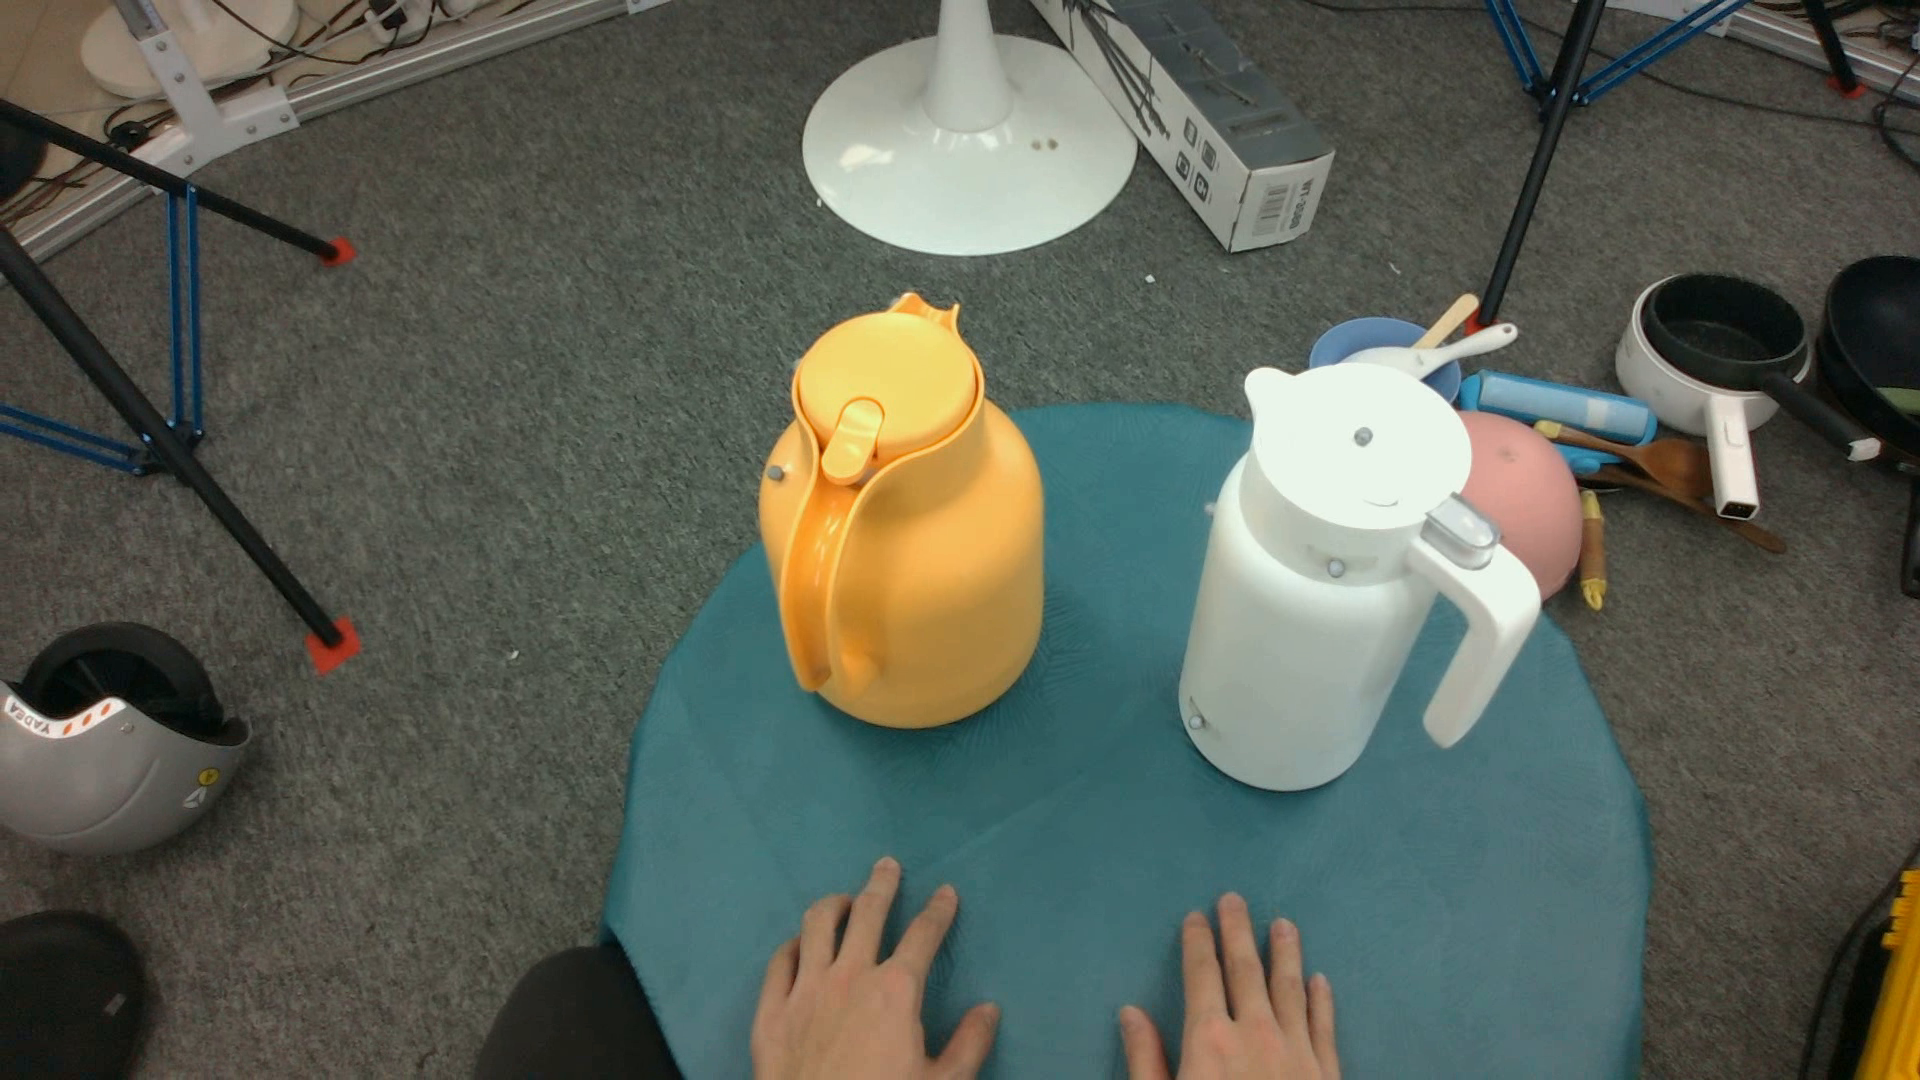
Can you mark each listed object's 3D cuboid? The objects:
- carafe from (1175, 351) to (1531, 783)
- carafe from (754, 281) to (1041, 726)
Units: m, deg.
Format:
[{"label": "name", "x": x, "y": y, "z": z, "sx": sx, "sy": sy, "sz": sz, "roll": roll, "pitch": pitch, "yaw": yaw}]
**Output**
[{"label": "carafe", "x": 0.199, "y": 0.035, "z": 0.738, "sx": 0.124, "sy": 0.267, "sz": 0.173, "roll": -34, "pitch": 61, "yaw": -23}, {"label": "carafe", "x": -0.043, "y": -0.002, "z": 0.771, "sx": 0.163, "sy": 0.259, "sz": 0.203, "roll": 16, "pitch": 55, "yaw": 16}]
